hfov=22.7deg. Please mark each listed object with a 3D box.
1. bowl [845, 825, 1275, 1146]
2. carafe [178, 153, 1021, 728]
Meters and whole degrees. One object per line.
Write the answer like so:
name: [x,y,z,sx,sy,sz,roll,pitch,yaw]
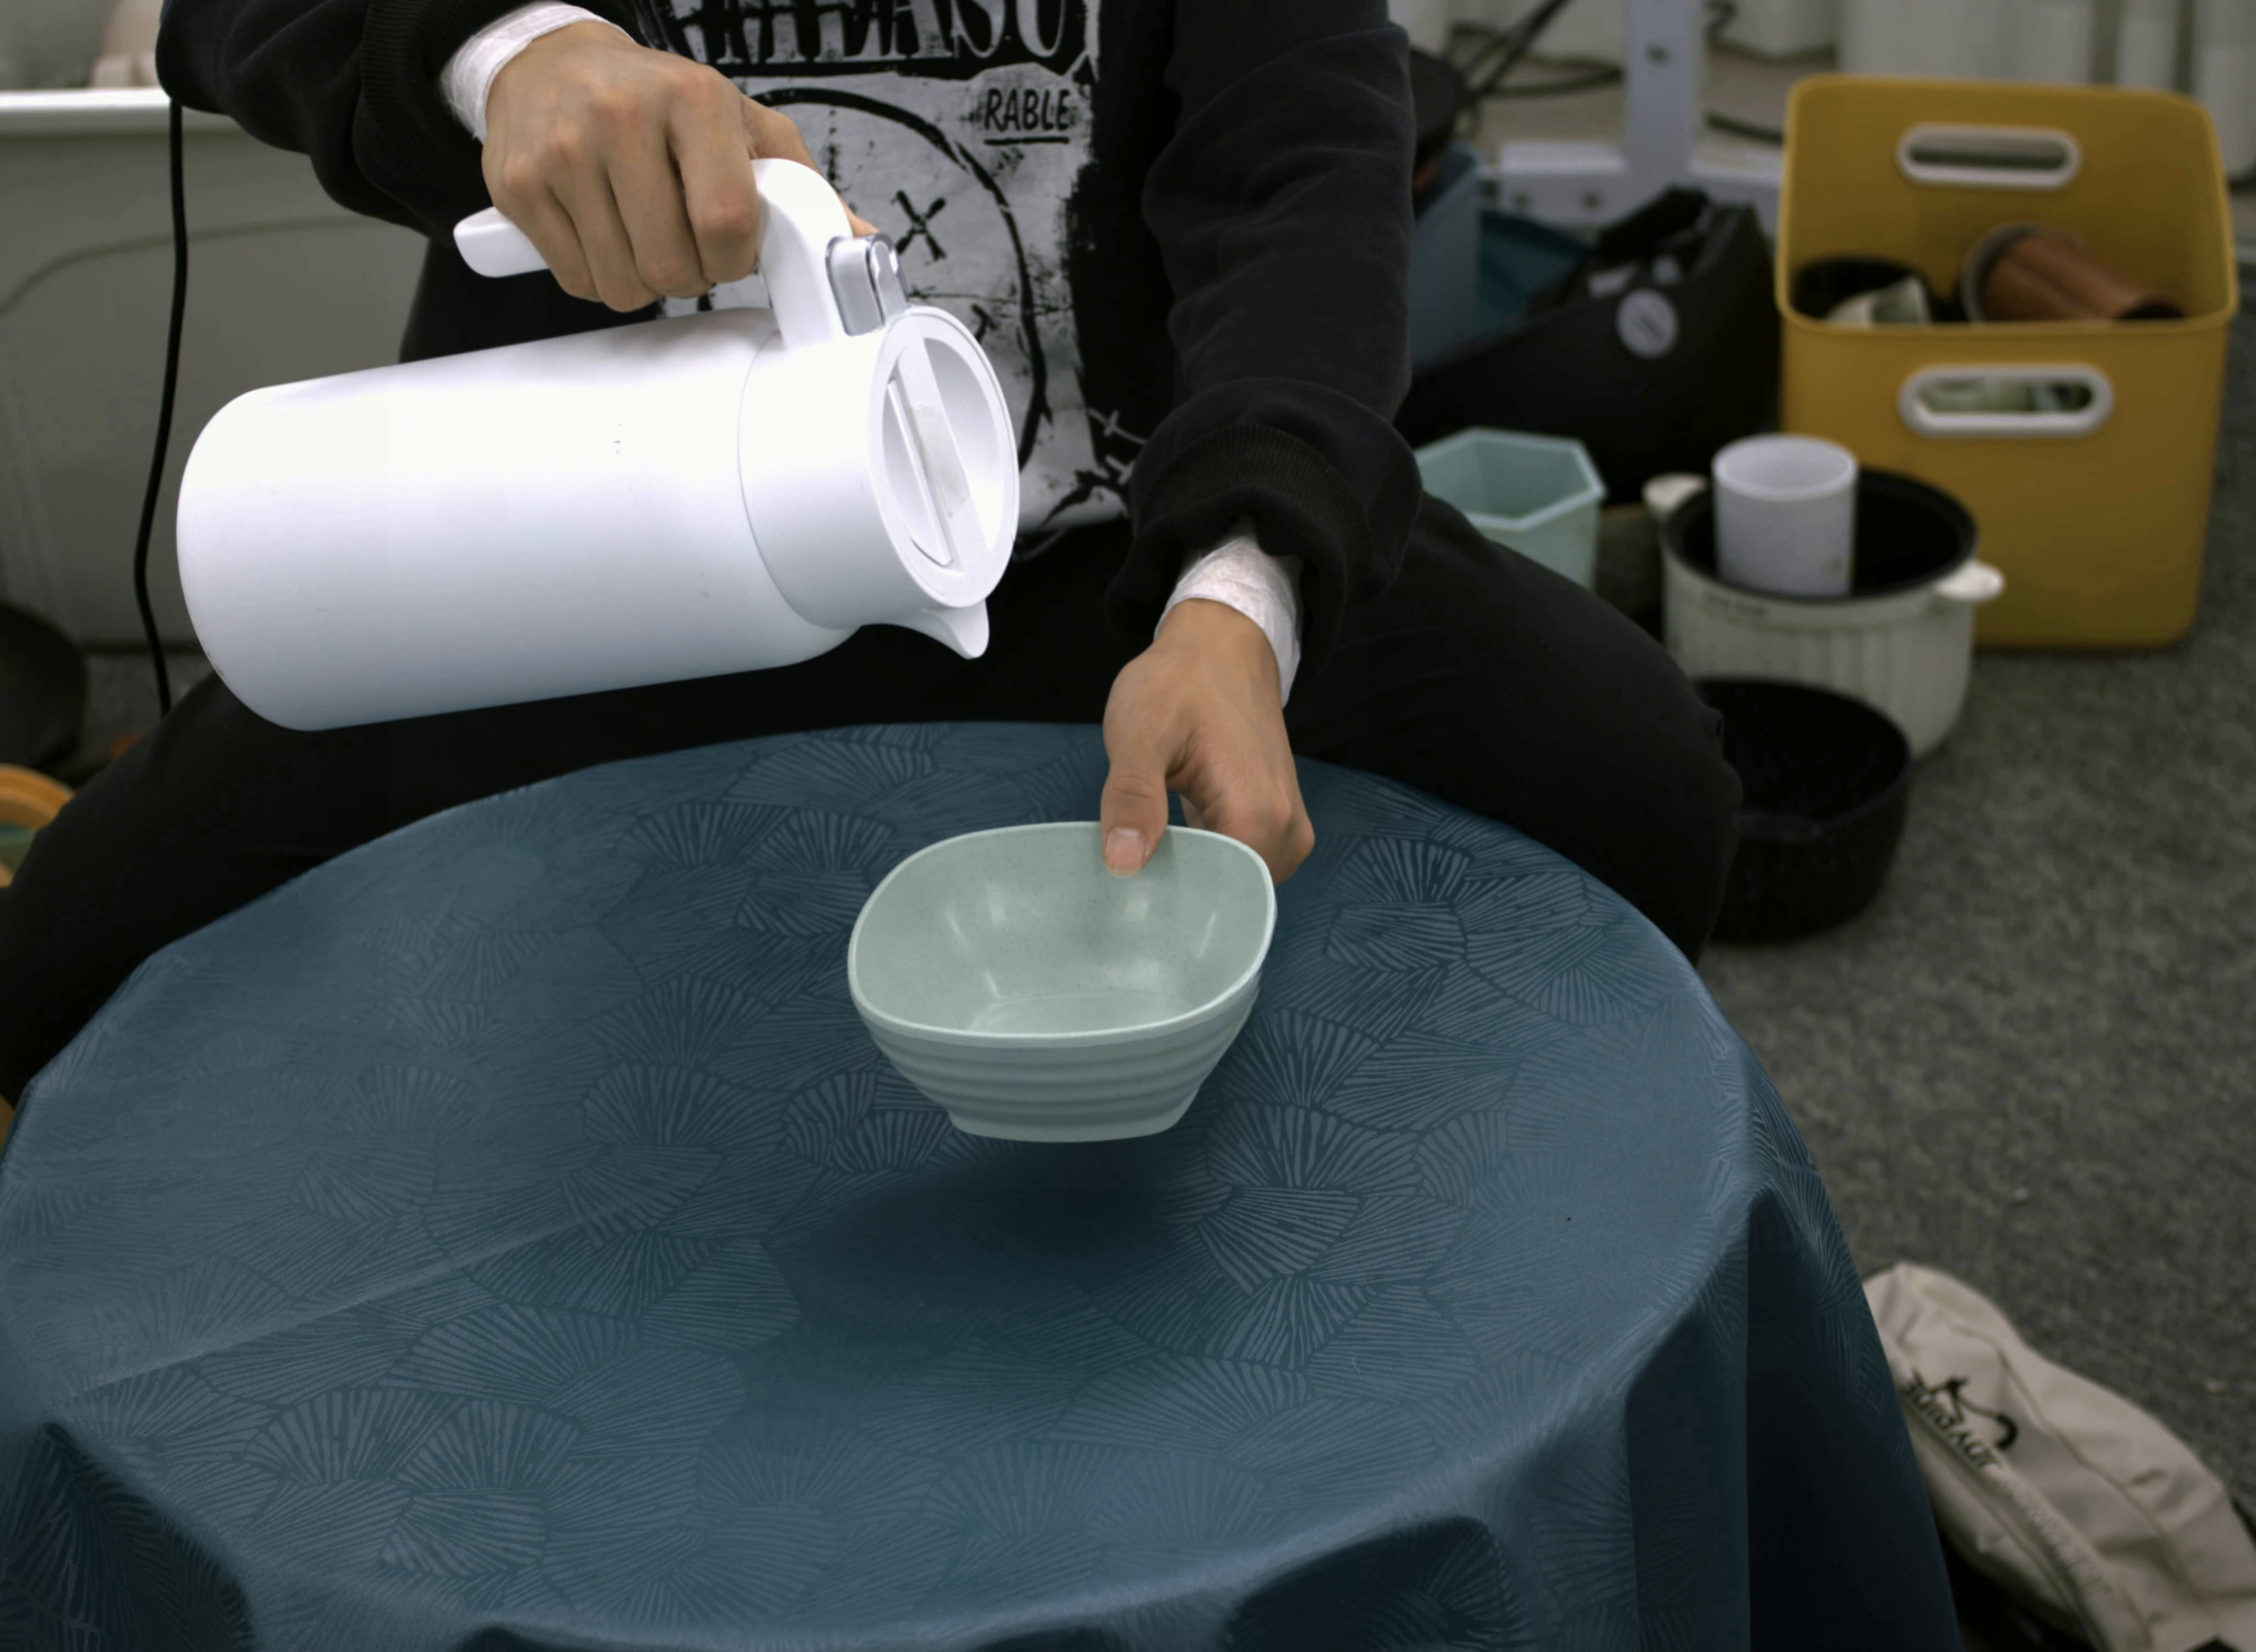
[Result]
bowl: [-0.020,0.058,1.832,0.150,0.058,0.154,-4,28,2]
carafe: [-0.178,-0.119,1.835,0.266,0.172,0.126,-7,22,28]
